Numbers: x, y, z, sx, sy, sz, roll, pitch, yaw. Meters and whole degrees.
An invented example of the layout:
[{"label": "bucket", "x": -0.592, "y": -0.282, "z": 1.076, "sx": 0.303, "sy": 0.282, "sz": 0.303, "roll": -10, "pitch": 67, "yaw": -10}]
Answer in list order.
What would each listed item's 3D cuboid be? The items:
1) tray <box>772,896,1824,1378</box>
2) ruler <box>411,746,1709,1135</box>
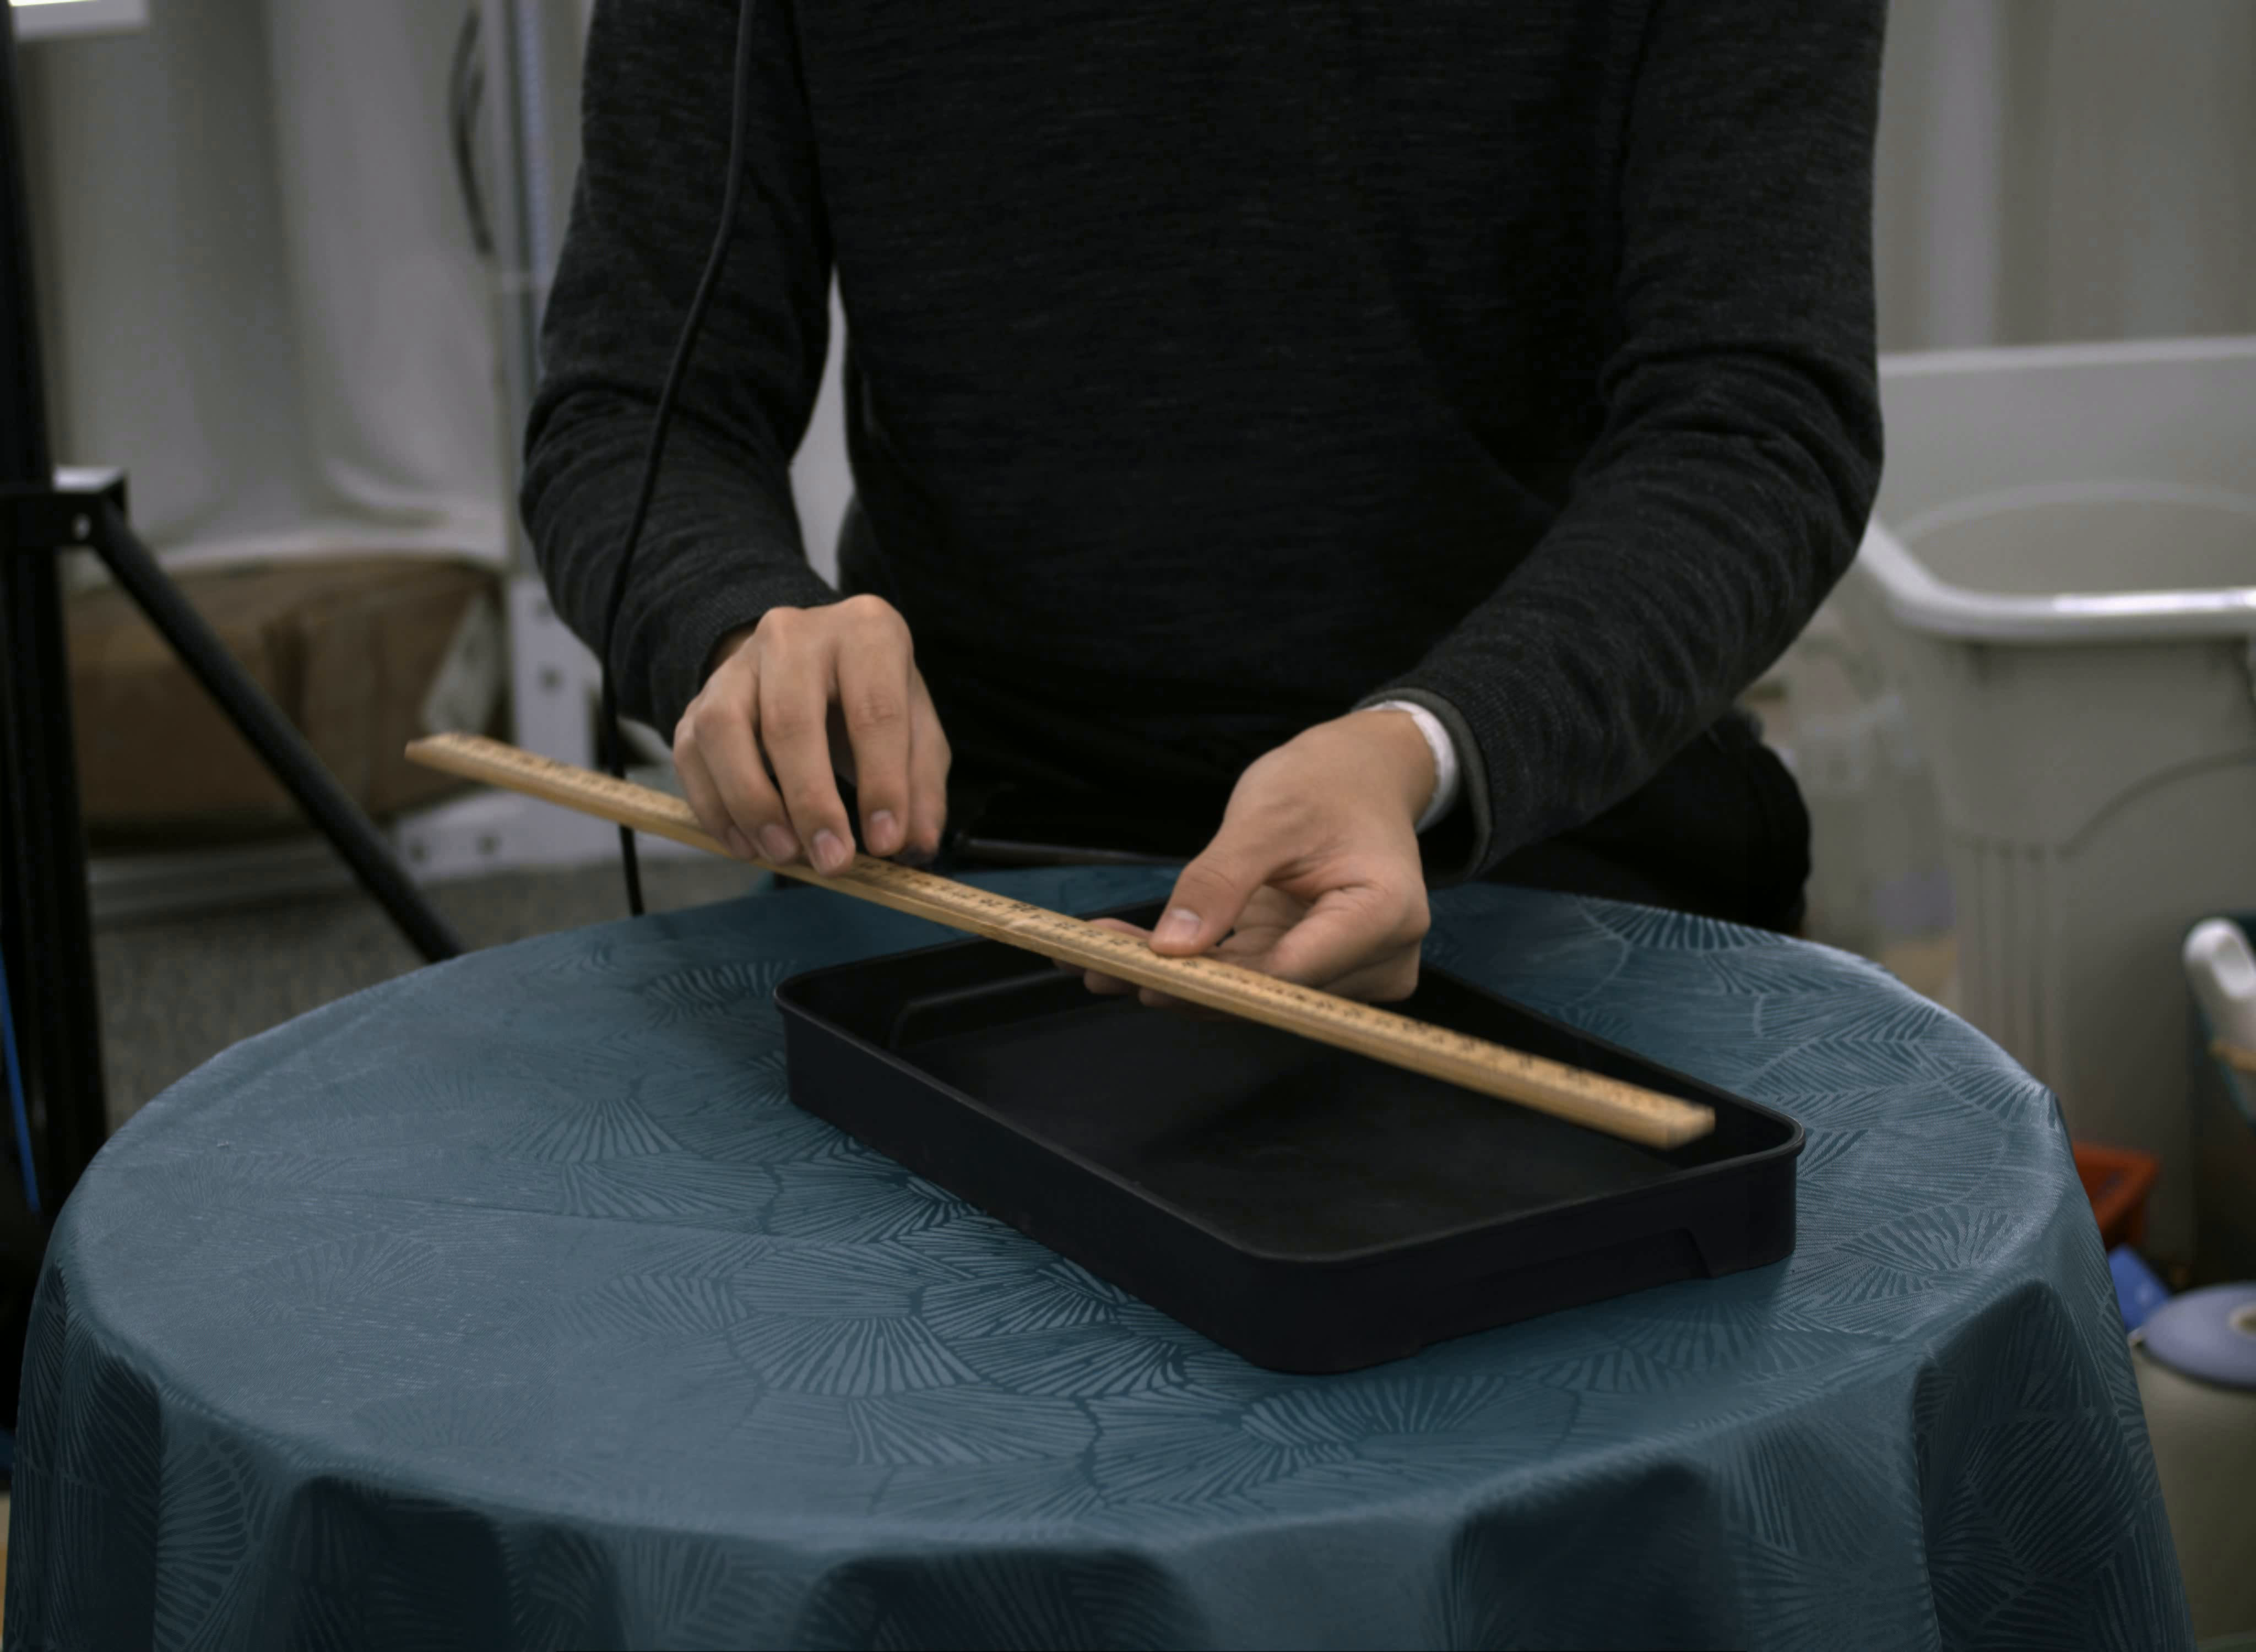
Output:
[{"label": "tray", "x": 0.043, "y": 0.086, "z": 1.565, "sx": 0.180, "sy": 0.037, "sz": 0.325, "roll": -11, "pitch": 17, "yaw": -29}, {"label": "ruler", "x": -0.037, "y": 0.028, "z": 1.601, "sx": 0.511, "sy": 0.006, "sz": 0.026, "roll": 15, "pitch": 17, "yaw": 39}]
